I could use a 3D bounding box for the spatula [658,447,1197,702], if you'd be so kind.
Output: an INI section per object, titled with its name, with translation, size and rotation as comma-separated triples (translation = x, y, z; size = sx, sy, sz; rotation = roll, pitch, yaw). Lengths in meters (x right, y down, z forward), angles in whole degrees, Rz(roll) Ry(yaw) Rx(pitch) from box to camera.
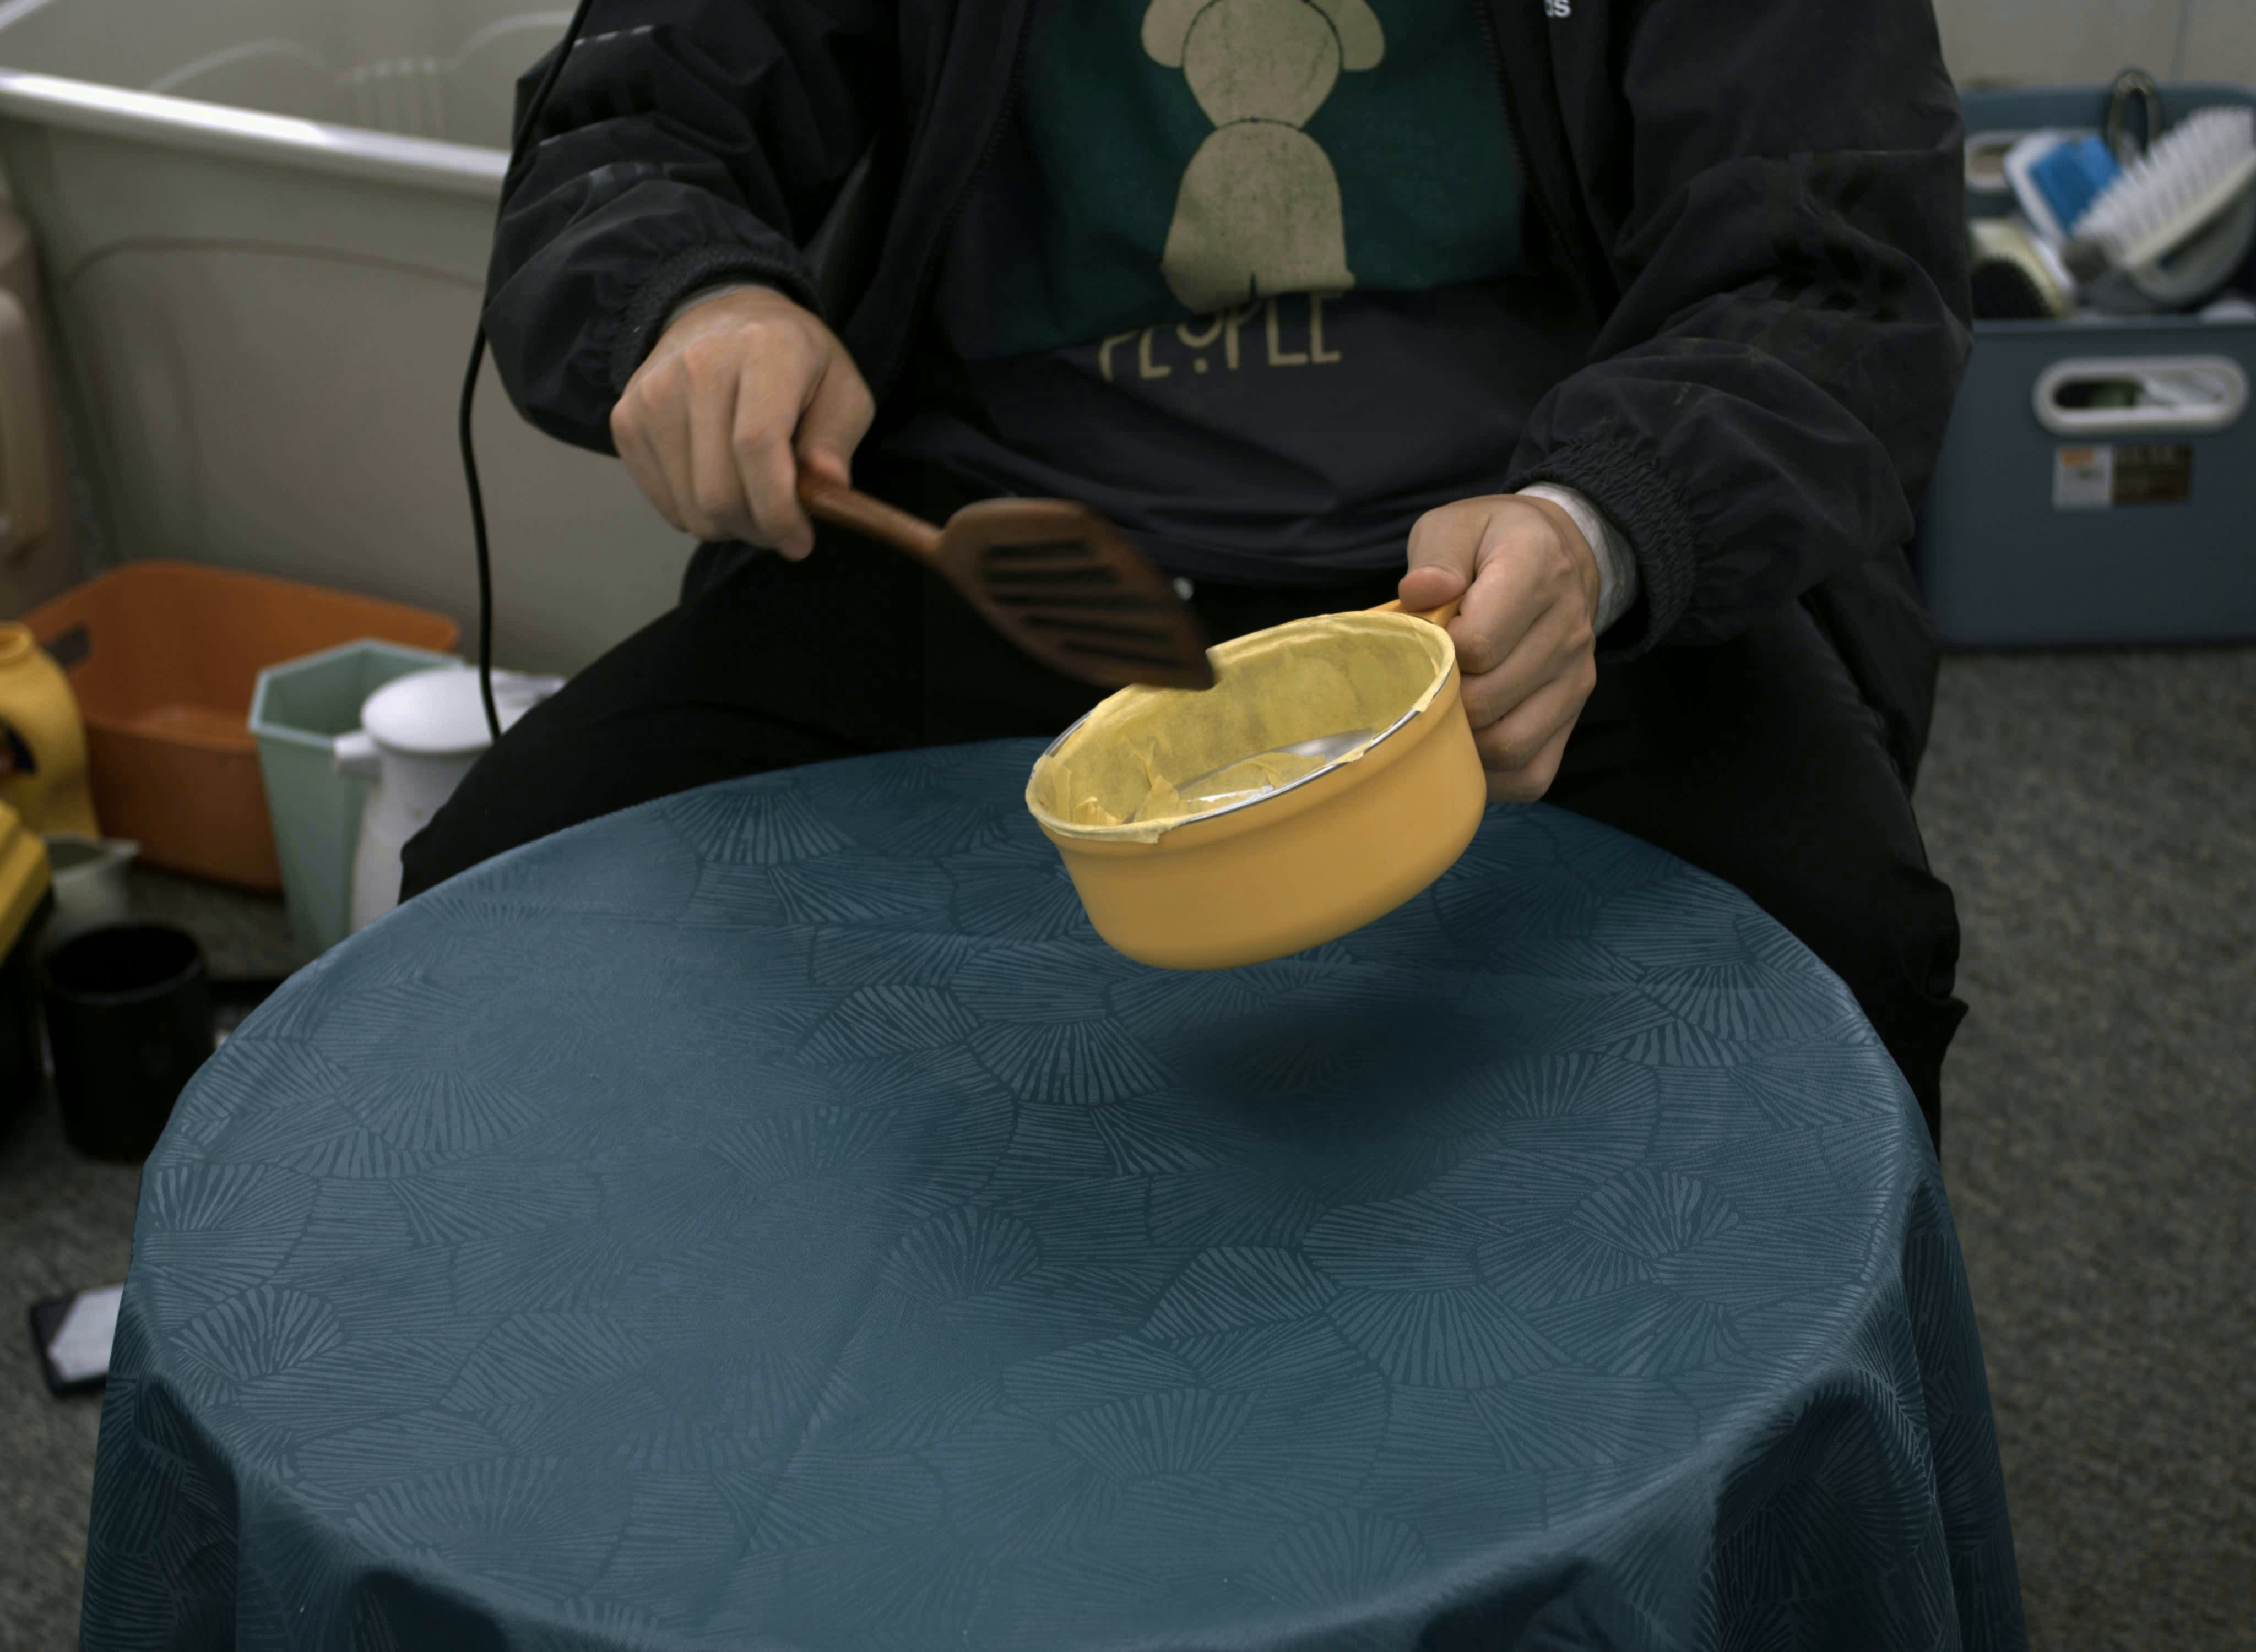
[spatula]
translation = -0.087, -0.098, 1.969
size = 0.024, 0.085, 0.386
rotation = -44, 26, -12

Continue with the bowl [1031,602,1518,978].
[bowl]
translation = 0.060, -0.013, 1.895
size = 0.151, 0.074, 0.182
rotation = 2, 31, 45
